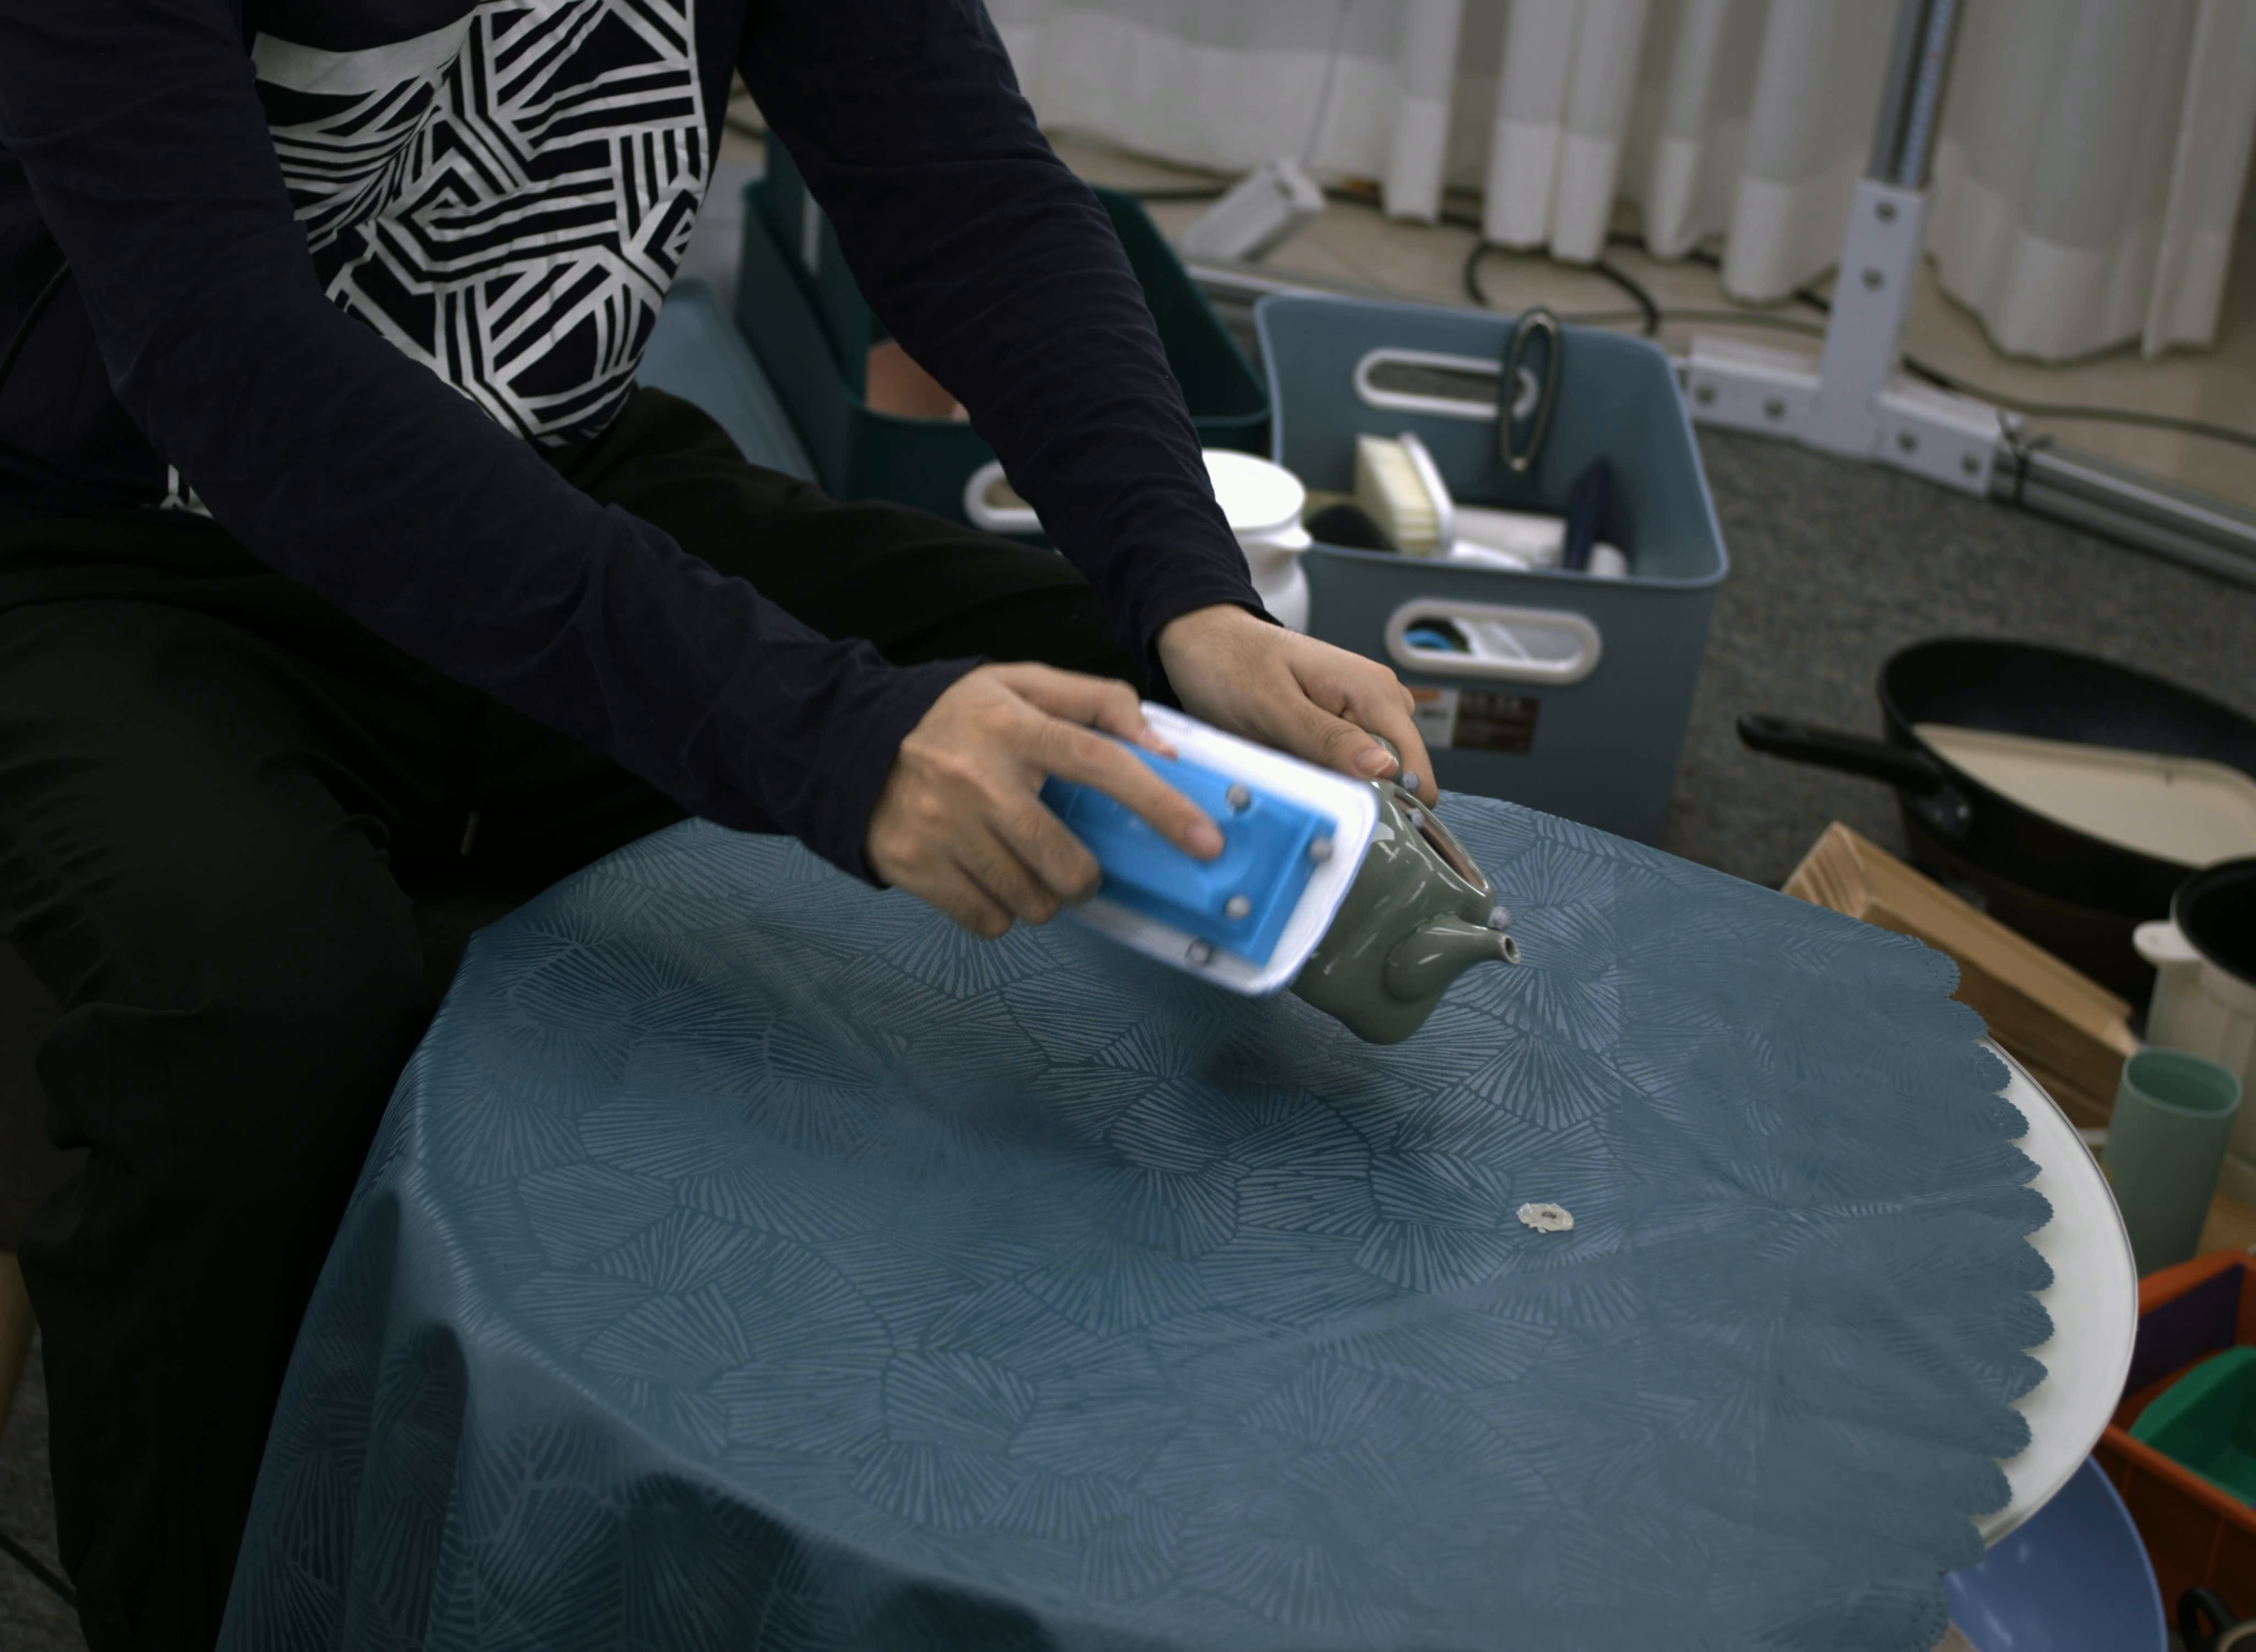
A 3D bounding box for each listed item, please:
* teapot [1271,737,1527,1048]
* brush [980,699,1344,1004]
[{"bbox_3d":[0.089,0.028,1.881,0.079,0.075,0.134,33,17,-42],"label":"teapot"},{"bbox_3d":[0.004,0.002,1.815,0.145,0.084,0.055,28,-8,45],"label":"brush"}]
